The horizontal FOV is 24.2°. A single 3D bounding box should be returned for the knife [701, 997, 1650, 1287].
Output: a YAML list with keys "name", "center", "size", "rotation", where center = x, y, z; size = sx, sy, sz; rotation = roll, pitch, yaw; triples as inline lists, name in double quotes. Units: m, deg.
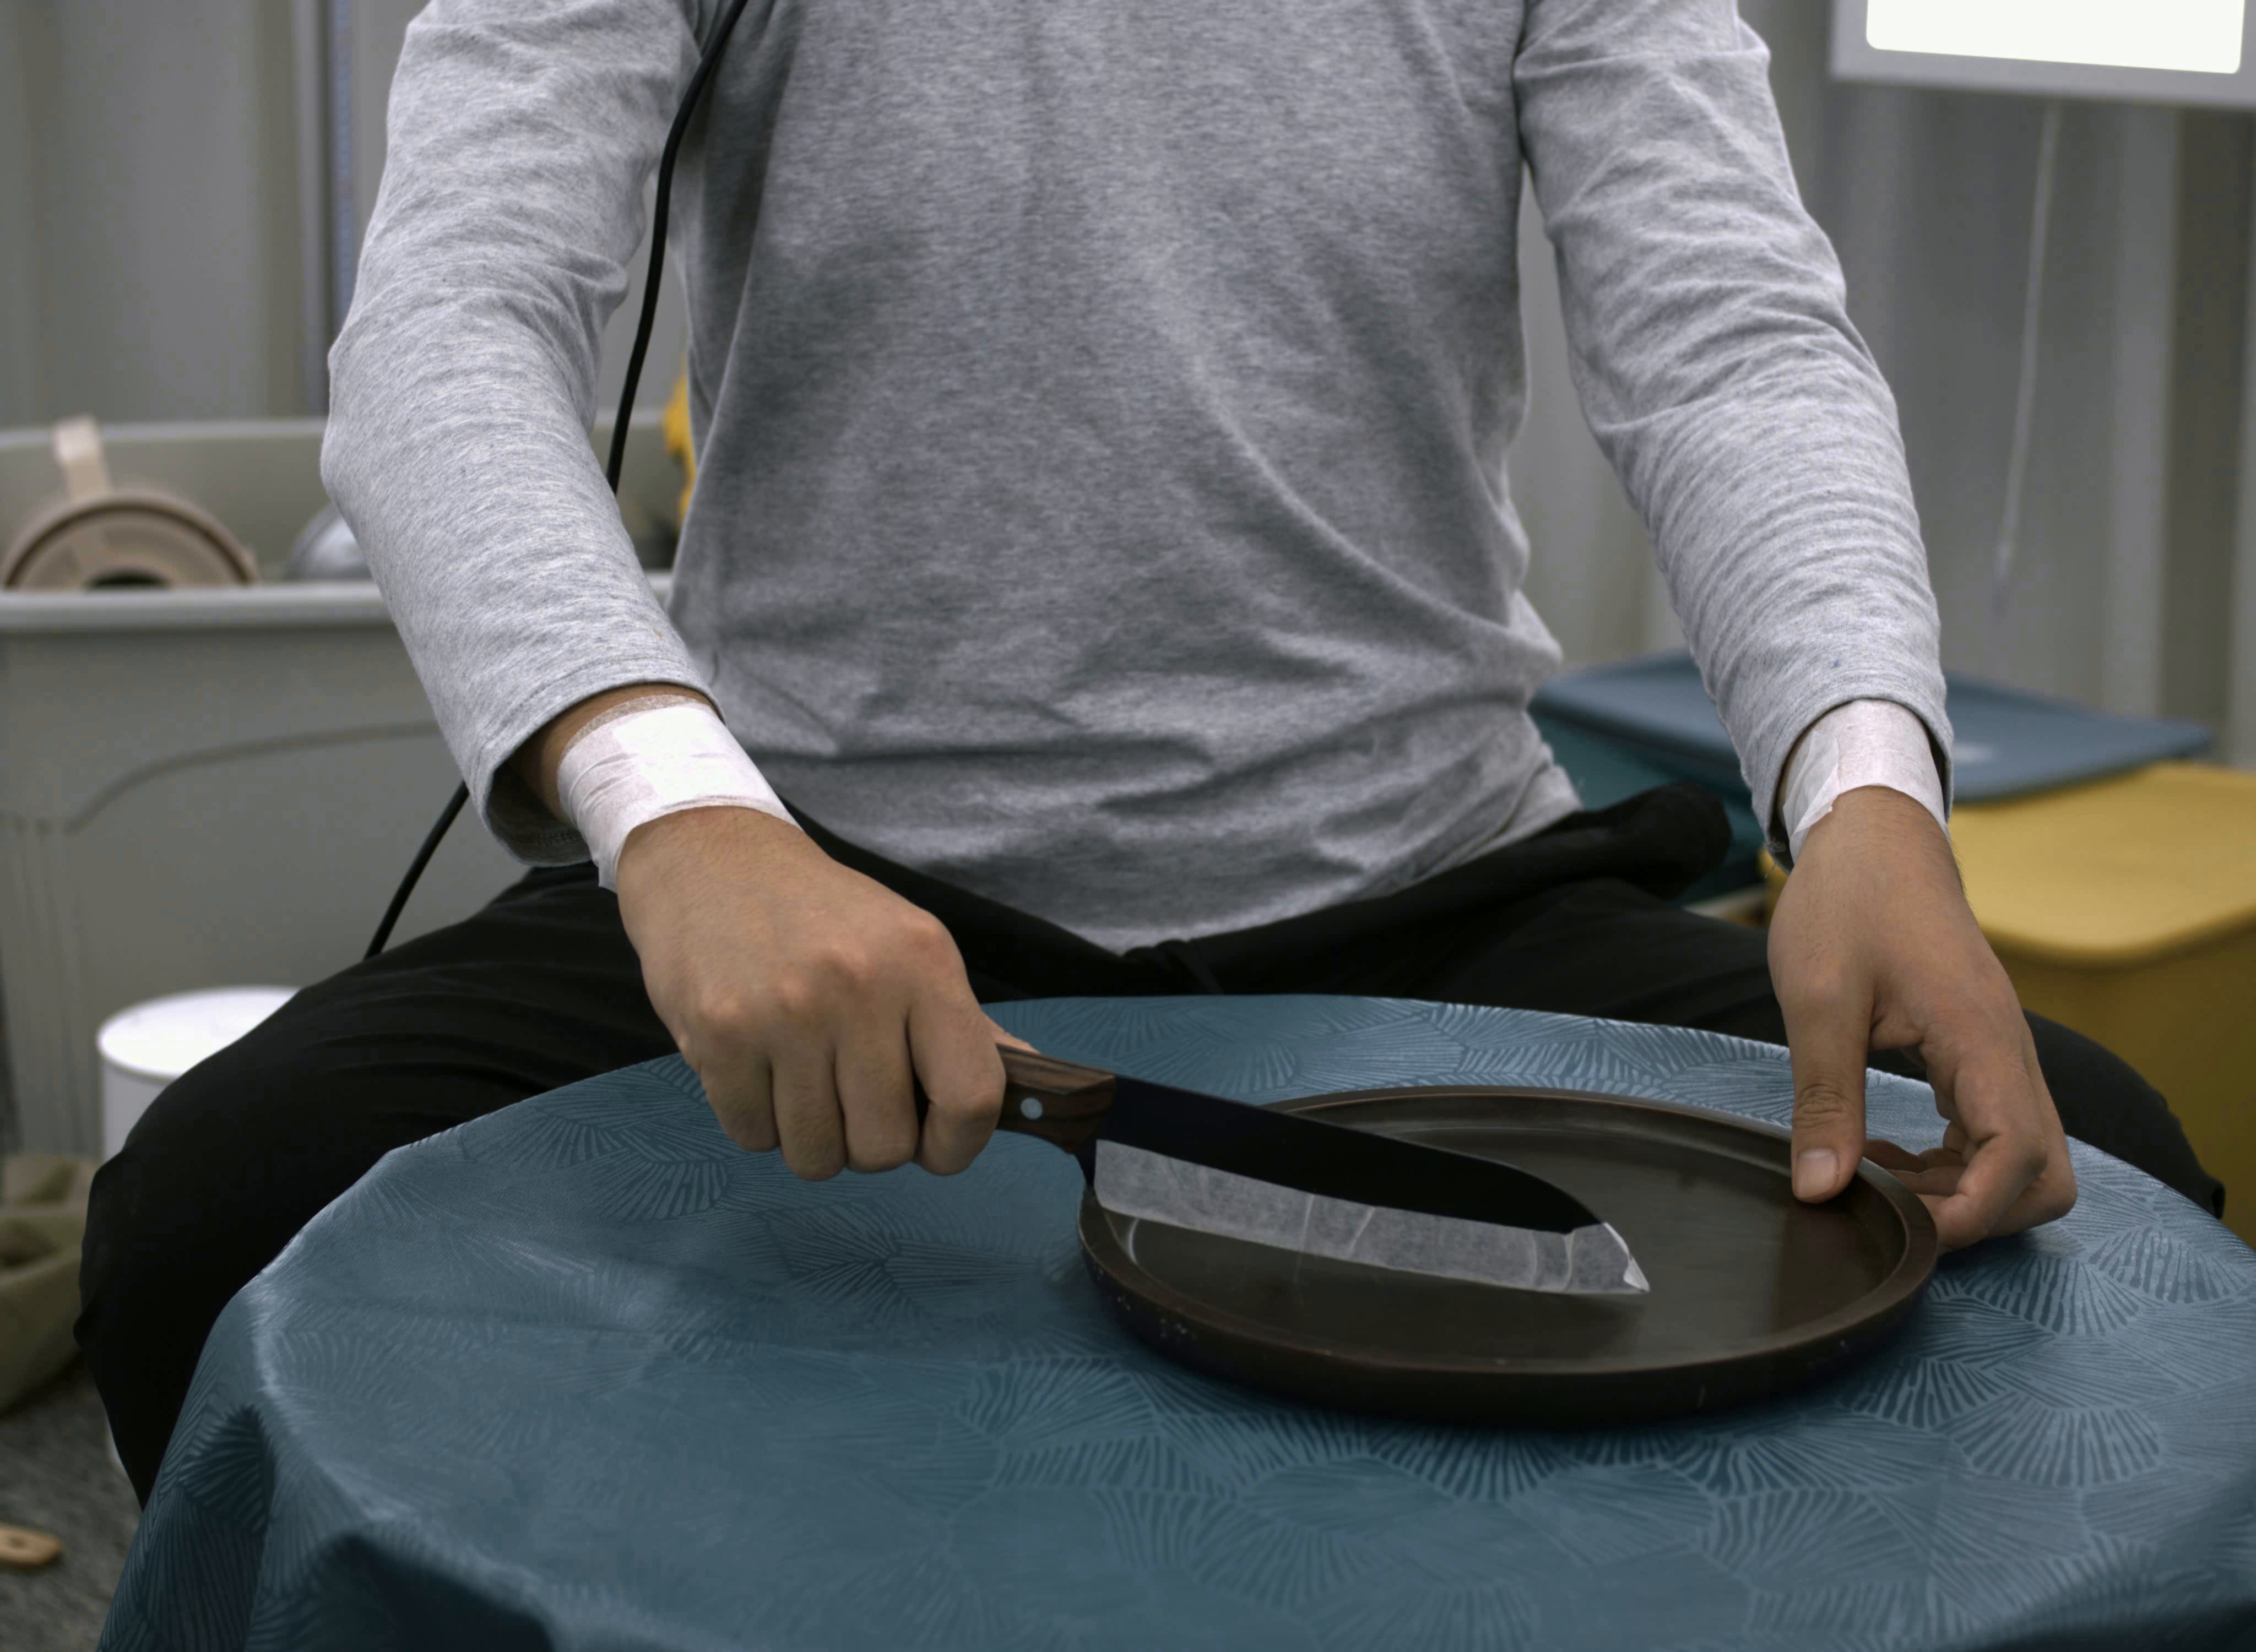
- name: "knife"
  center: [0.012, 0.092, 1.523]
  size: [0.287, 0.051, 0.020]
  rotation: [14, 27, 10]

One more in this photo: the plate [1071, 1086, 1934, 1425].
- name: "plate"
  center: [0.109, 0.123, 1.544]
  size: [0.254, 0.029, 0.253]
  rotation: [-1, 14, 1]
